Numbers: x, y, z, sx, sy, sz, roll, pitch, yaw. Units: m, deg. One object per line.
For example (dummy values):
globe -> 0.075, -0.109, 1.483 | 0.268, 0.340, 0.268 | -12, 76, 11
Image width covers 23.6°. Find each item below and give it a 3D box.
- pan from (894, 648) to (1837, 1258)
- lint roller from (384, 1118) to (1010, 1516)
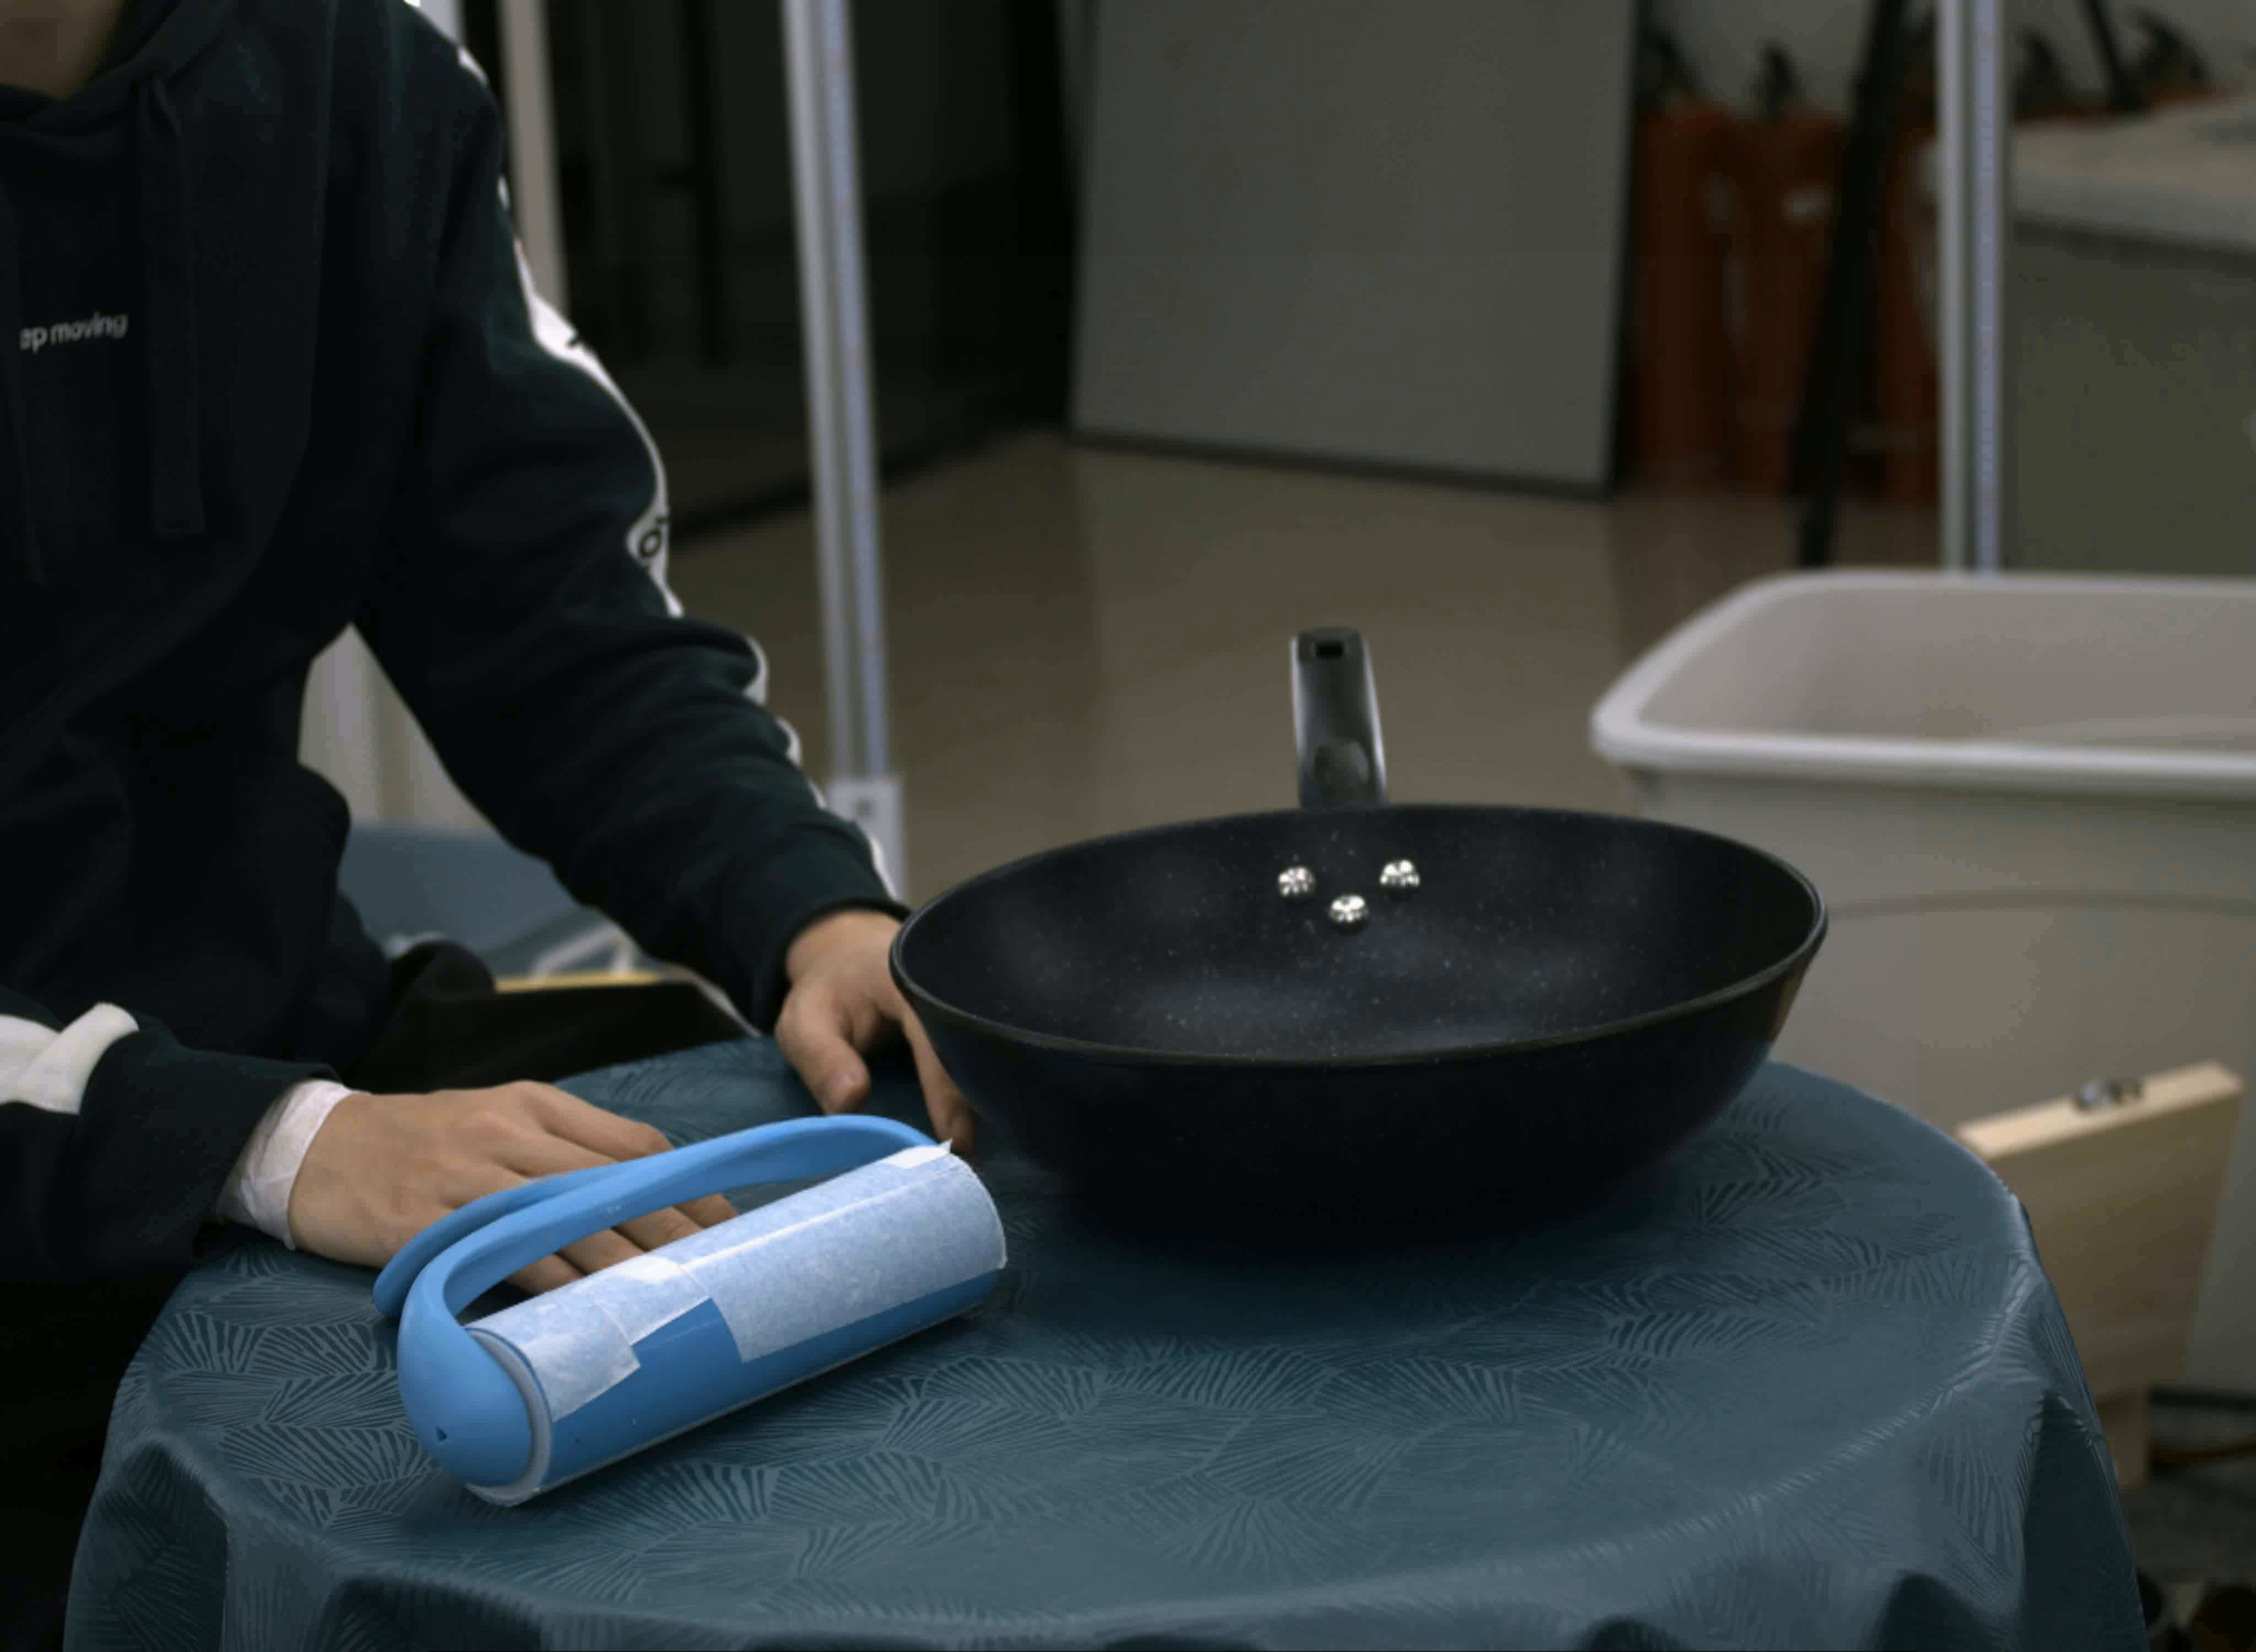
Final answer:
pan -> 0.078, 0.043, 1.840 | 0.306, 0.113, 0.477 | -2, 14, 1
lint roller -> -0.162, 0.140, 1.629 | 0.181, 0.068, 0.225 | 7, 19, 37
